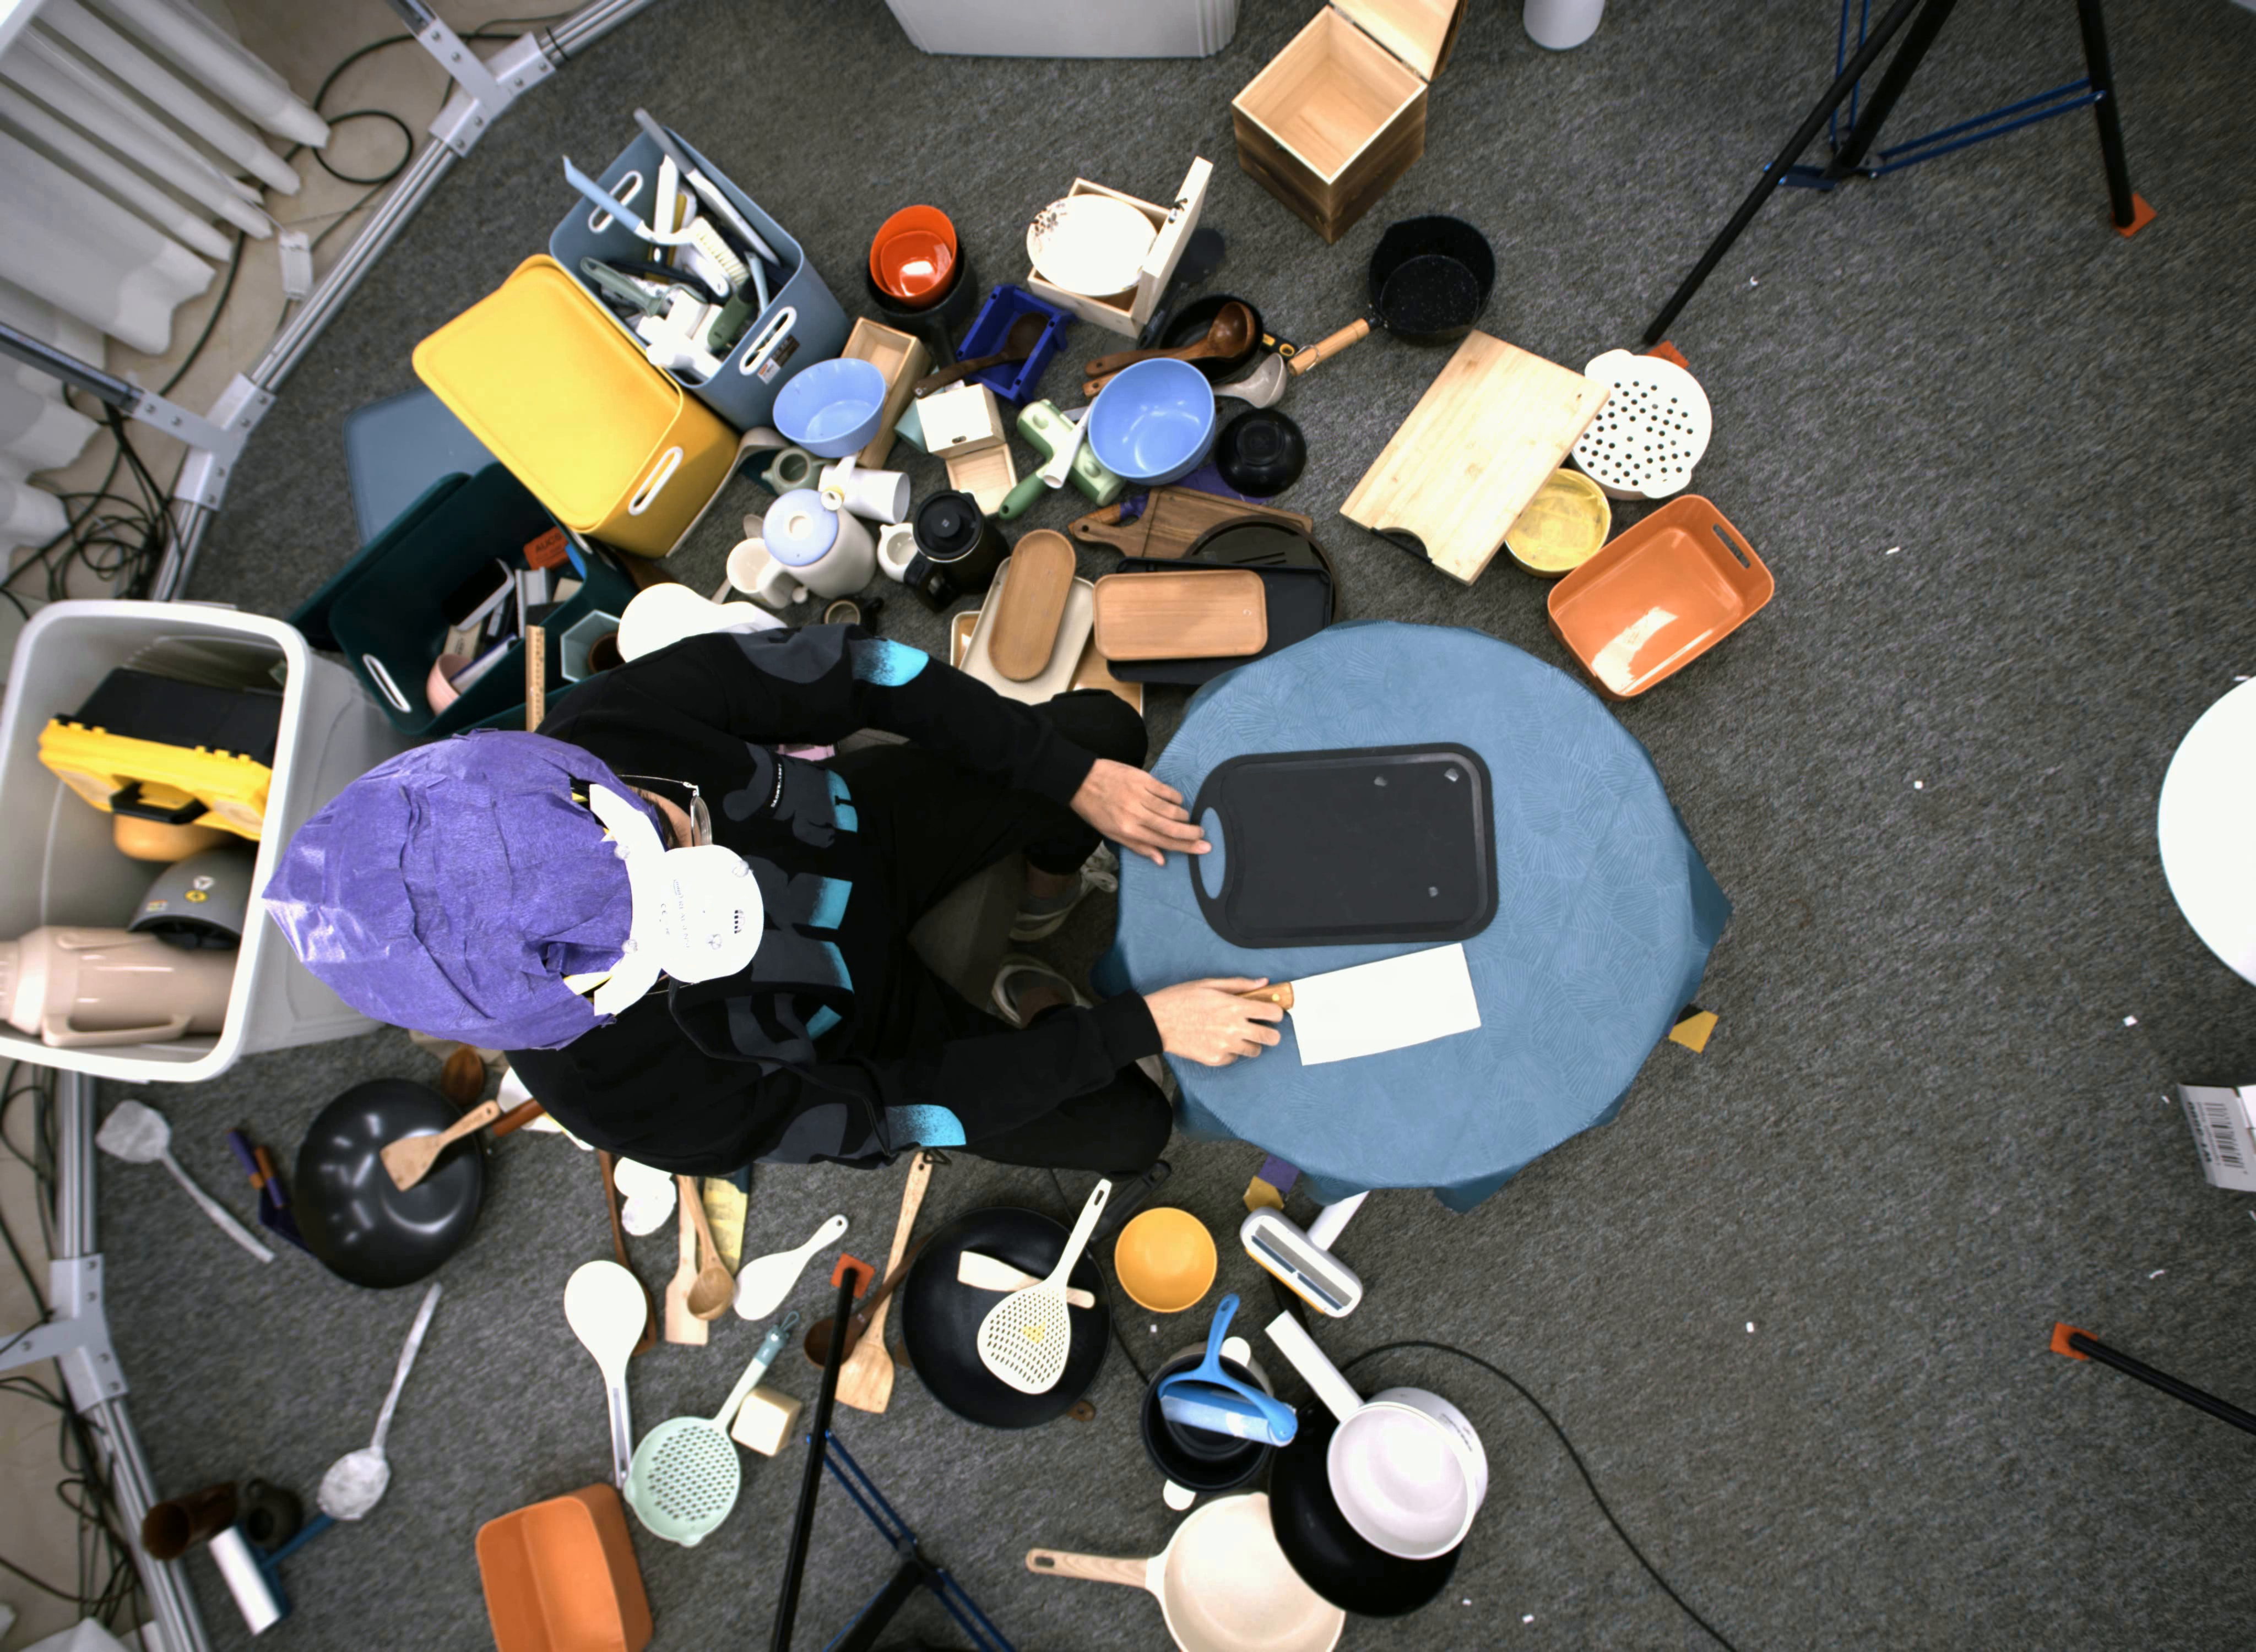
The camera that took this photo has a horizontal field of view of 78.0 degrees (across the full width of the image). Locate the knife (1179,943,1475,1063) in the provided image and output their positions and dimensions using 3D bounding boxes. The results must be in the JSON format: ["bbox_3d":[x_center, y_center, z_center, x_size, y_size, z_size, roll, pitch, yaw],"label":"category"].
[{"bbox_3d":[0.210,0.197,1.457,0.307,0.021,0.093,-14,91,9],"label":"knife"}]

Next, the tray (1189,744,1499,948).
[{"bbox_3d":[0.226,0.021,1.467,0.327,0.010,0.210,-3,86,10],"label":"tray"}]
